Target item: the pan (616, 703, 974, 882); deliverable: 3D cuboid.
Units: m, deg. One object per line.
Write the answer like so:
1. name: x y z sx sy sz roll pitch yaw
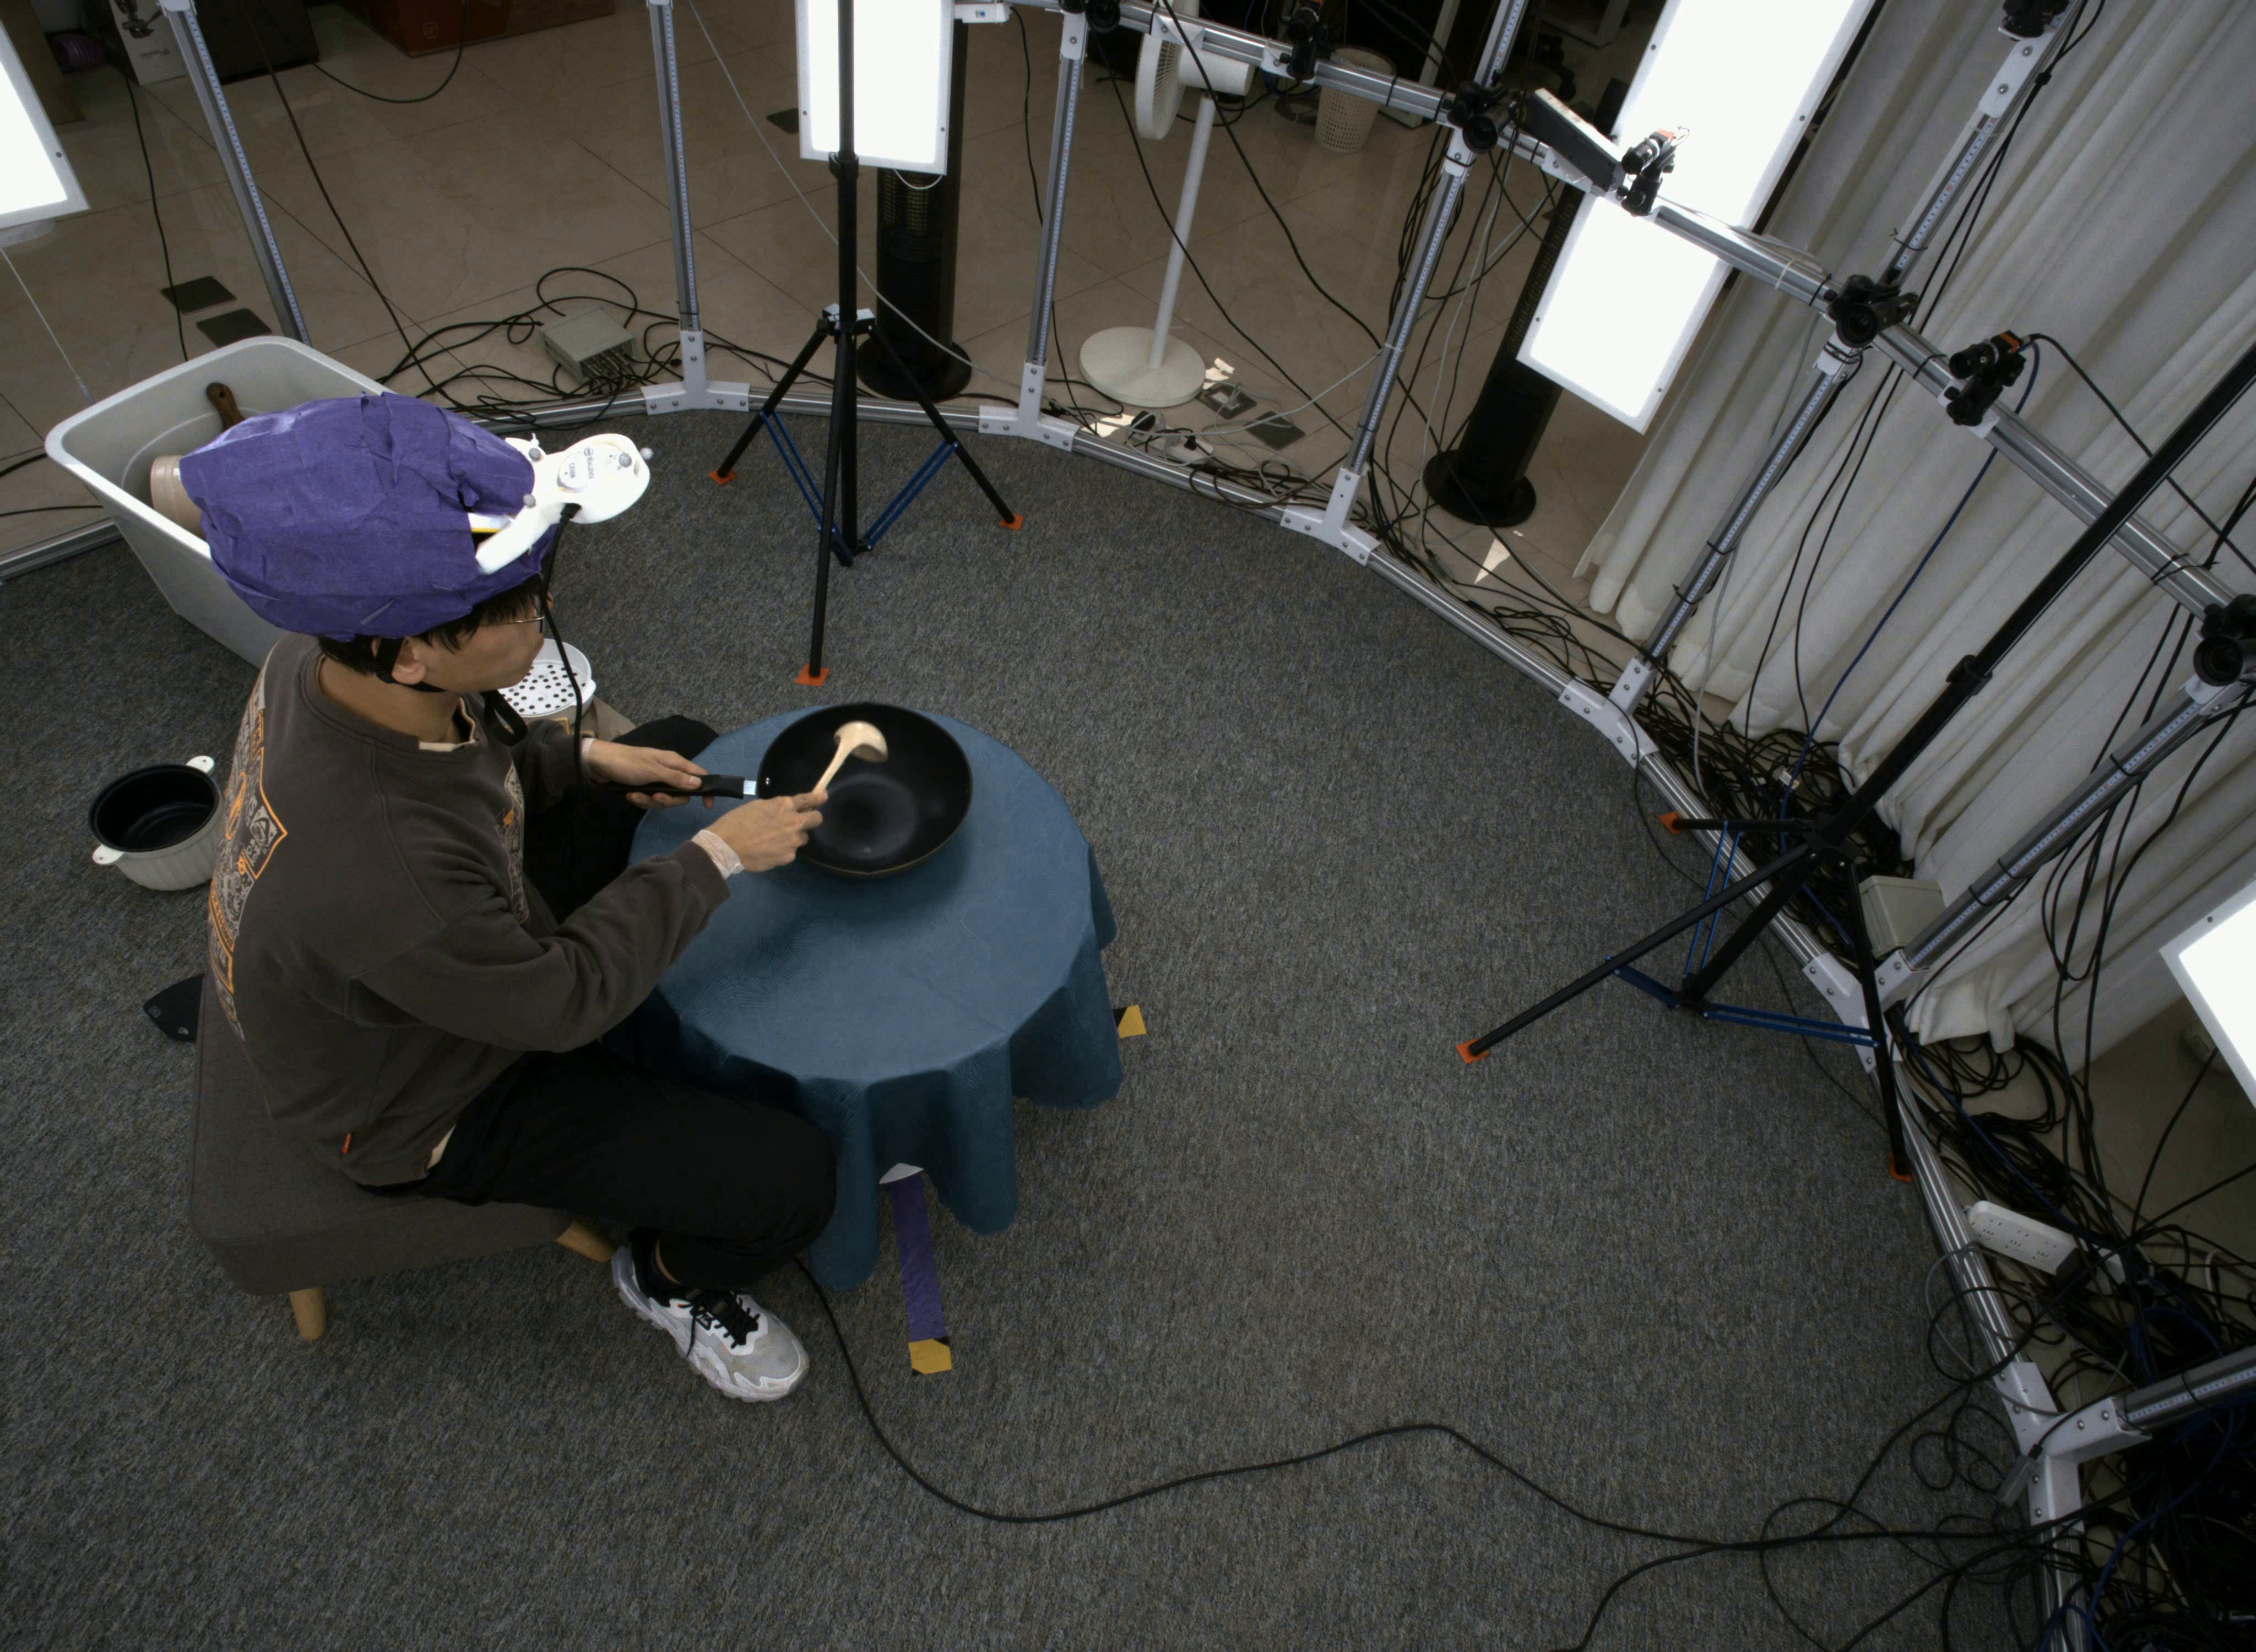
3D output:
1. pan: -0.434 -0.031 1.707 0.463 0.089 0.282 -1 55 -12

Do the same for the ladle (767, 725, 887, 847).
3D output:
1. ladle: -0.387 -0.035 1.656 0.071 0.075 0.252 19 47 8
